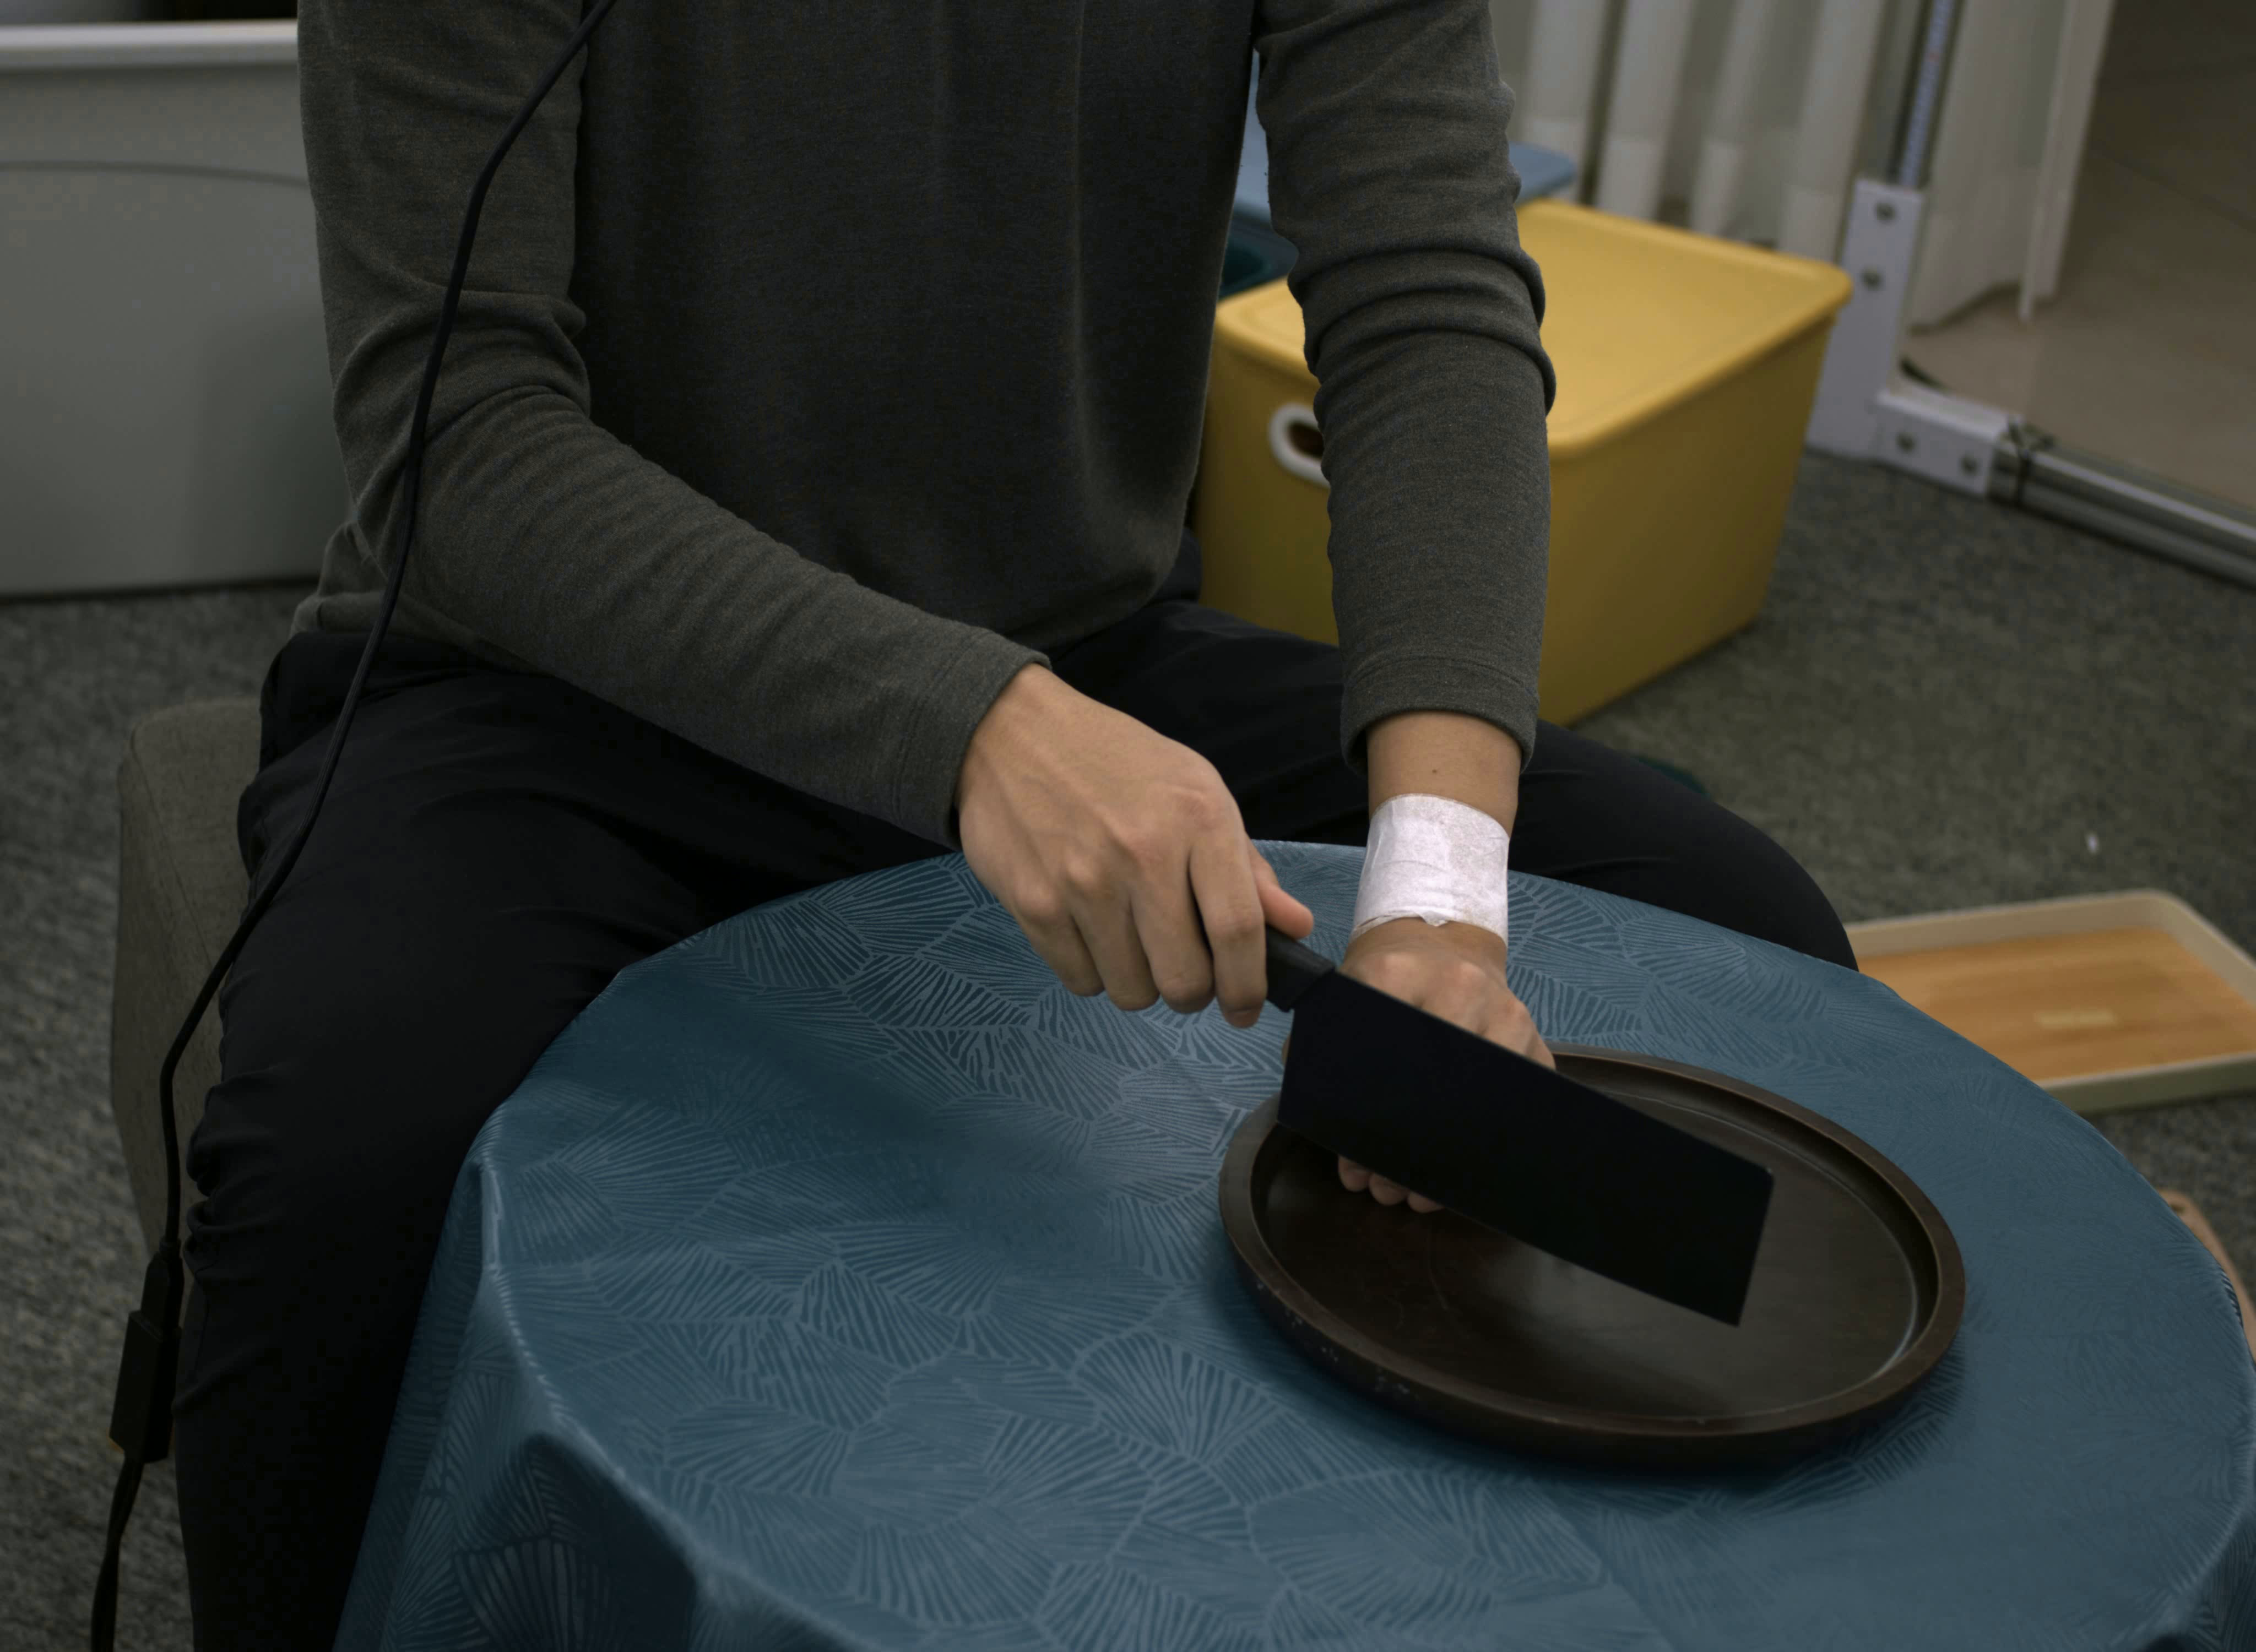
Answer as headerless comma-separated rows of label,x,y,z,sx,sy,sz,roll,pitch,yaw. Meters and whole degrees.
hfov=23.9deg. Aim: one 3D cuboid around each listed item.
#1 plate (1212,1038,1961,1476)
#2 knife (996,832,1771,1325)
plate,0.152,0.142,1.780,0.254,0.029,0.256,4,27,-3
knife,0.079,0.078,1.763,0.304,0.080,0.021,29,32,25
